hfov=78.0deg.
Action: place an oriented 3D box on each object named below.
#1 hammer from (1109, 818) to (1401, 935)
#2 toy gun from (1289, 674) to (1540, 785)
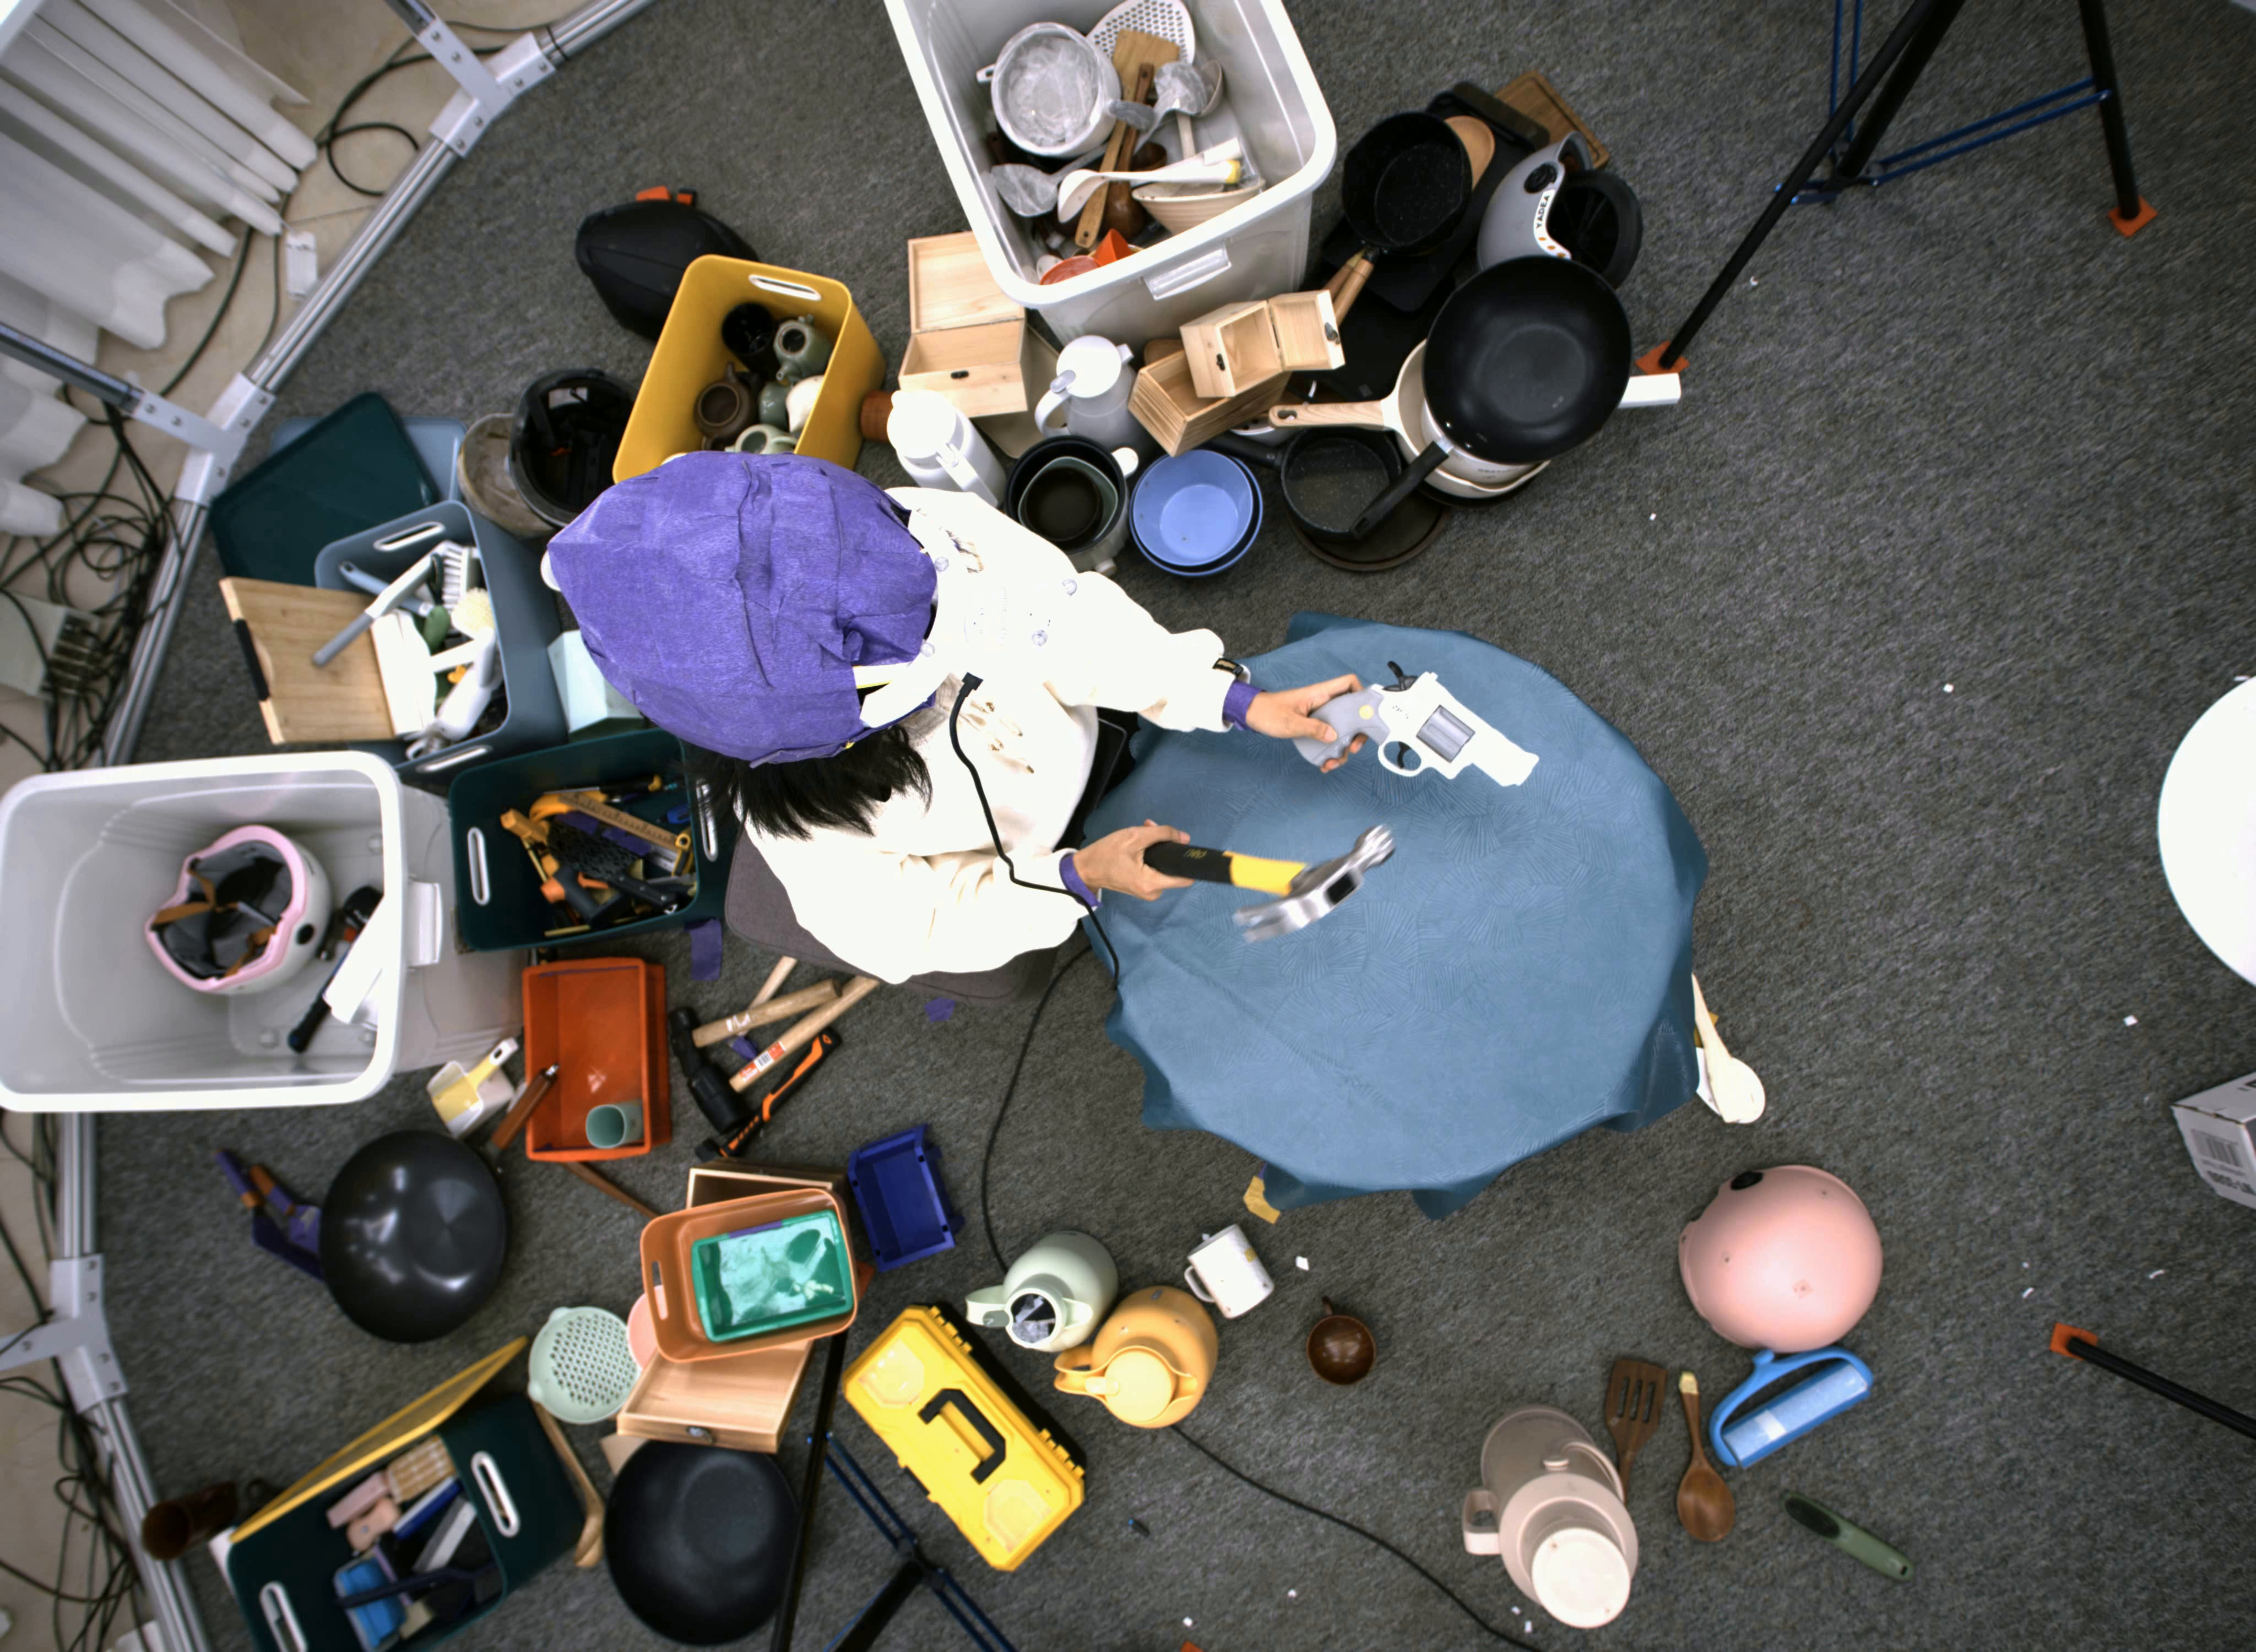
[{"bbox_3d":[0.086,0.031,1.244,0.129,0.339,0.032,-41,114,-23],"label":"hammer"},{"bbox_3d":[0.270,-0.075,1.321,0.208,0.038,0.144,38,118,9],"label":"toy gun"}]
